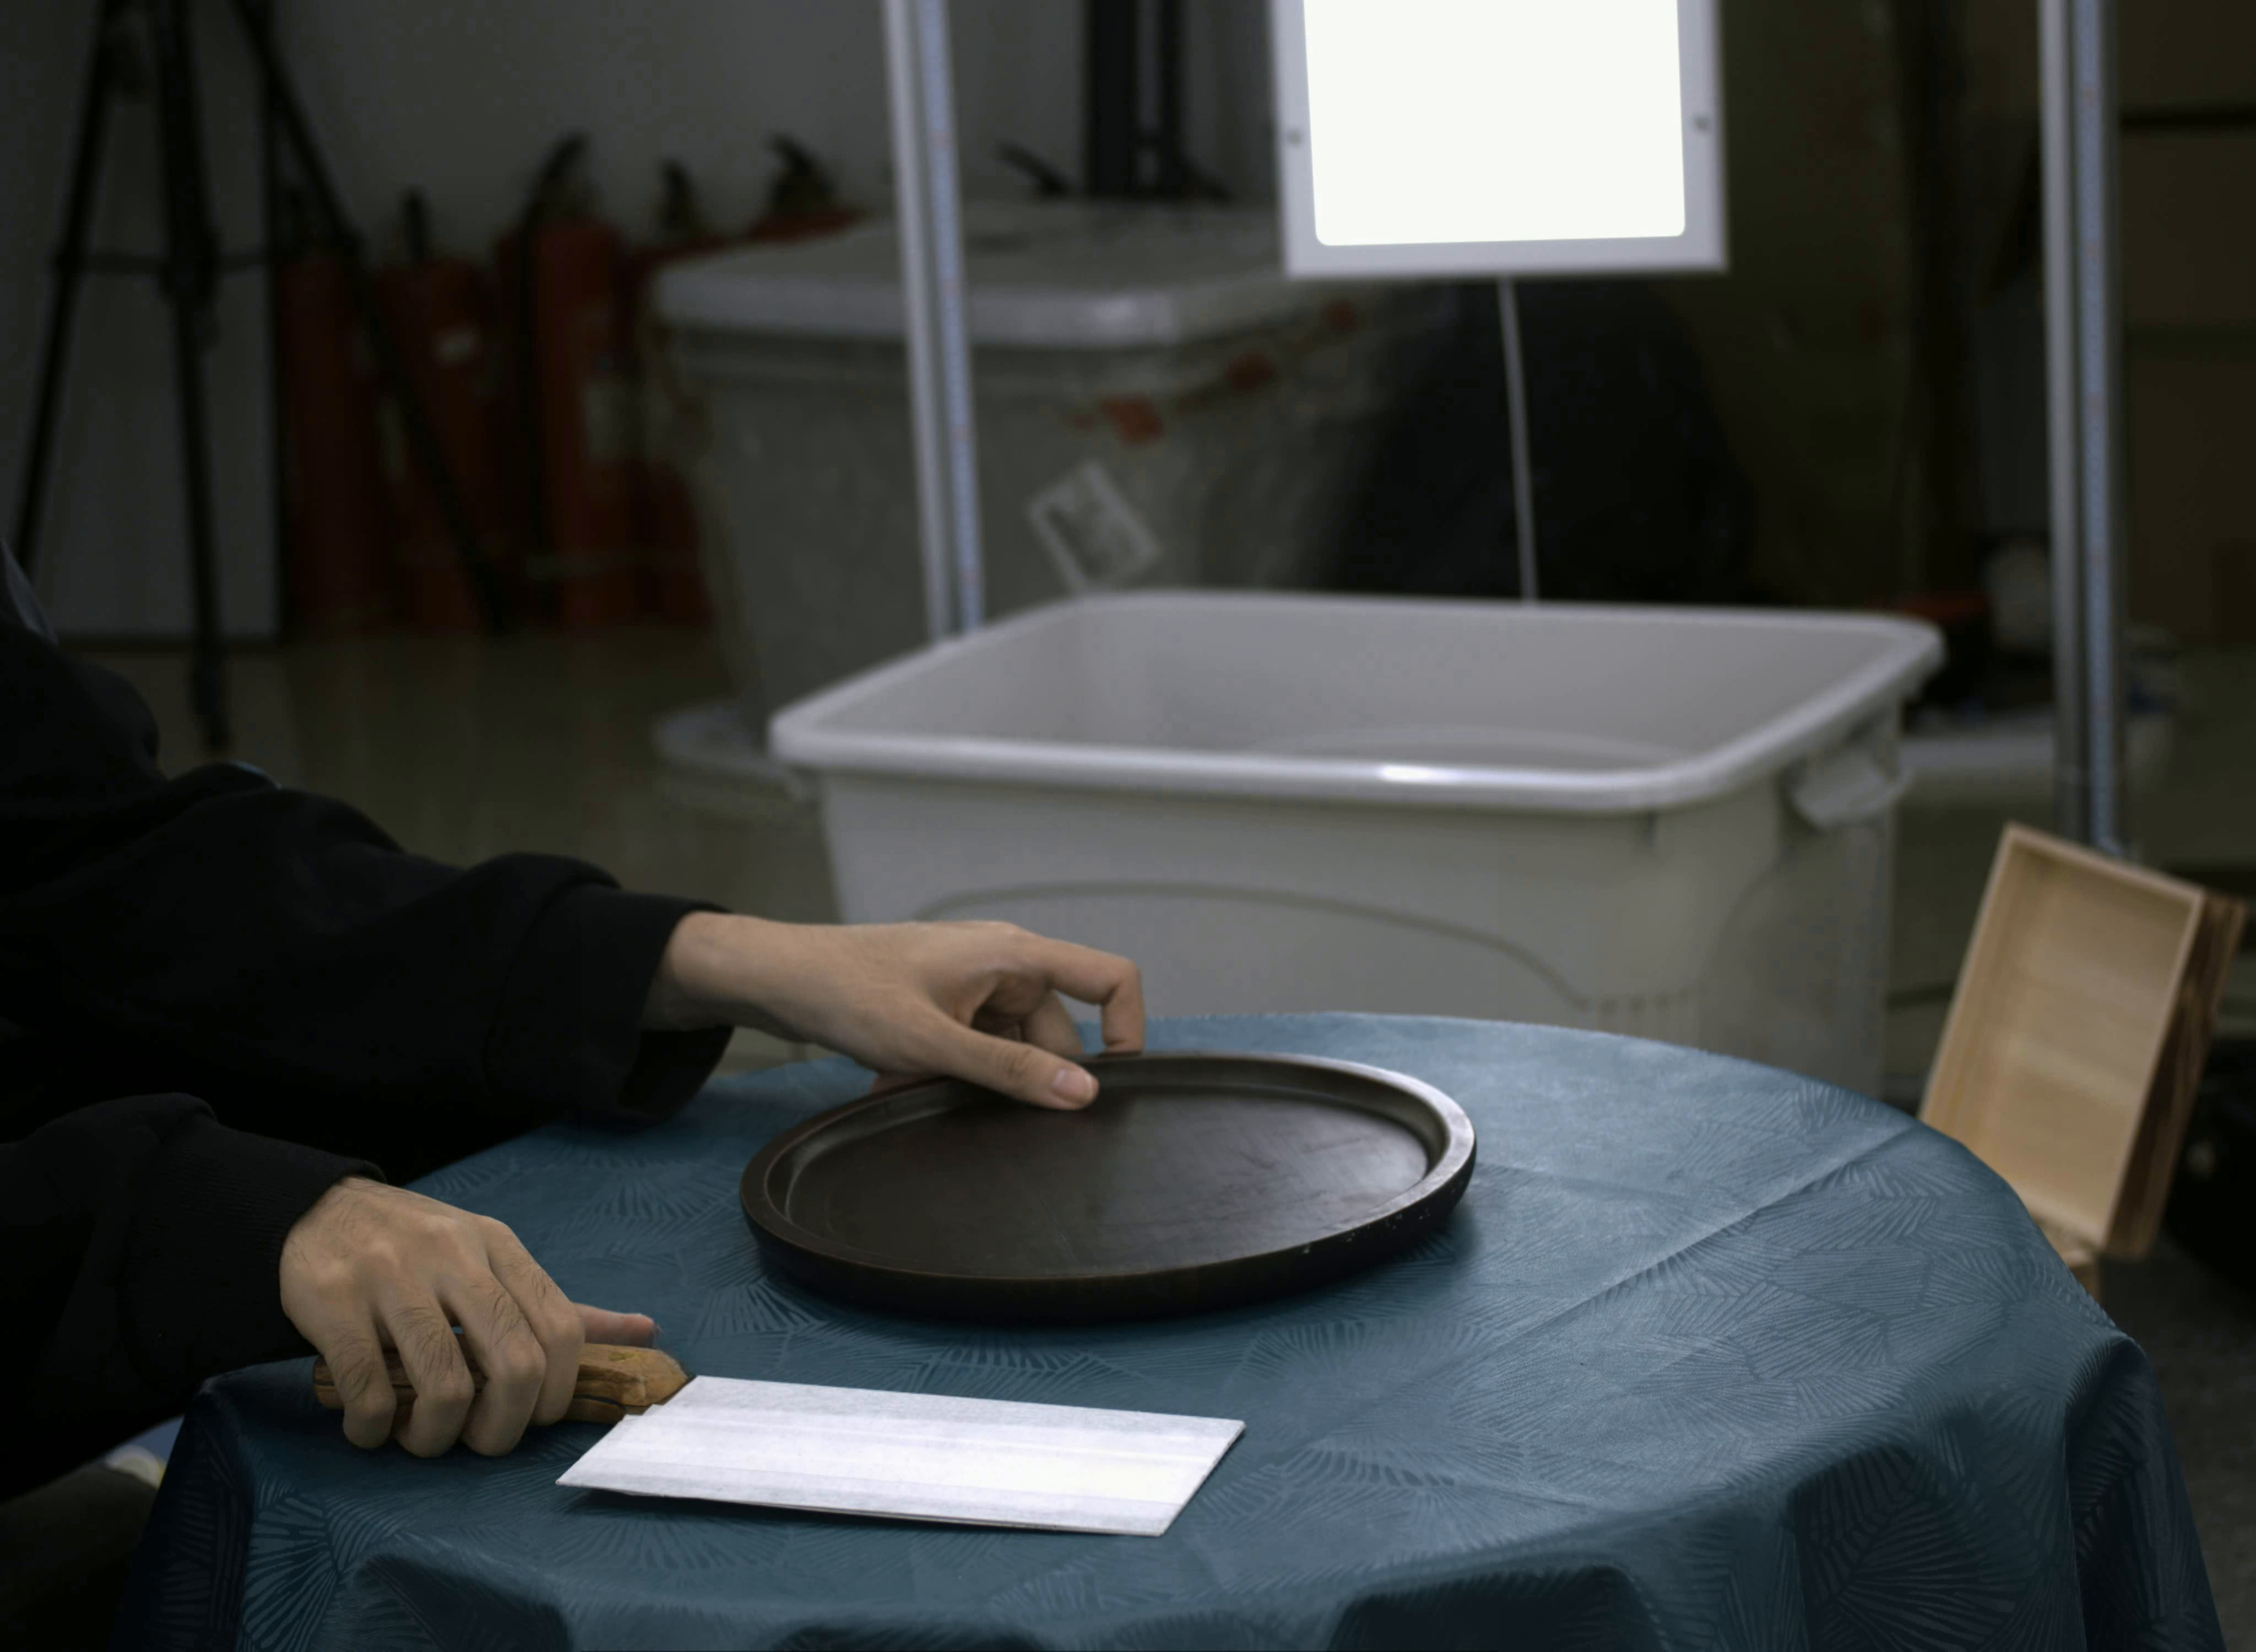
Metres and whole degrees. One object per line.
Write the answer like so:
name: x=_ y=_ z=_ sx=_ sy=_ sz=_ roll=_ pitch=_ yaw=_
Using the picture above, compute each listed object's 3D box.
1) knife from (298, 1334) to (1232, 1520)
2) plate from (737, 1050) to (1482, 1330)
knife: x=-0.121 y=0.185 z=1.673 sx=0.309 sy=0.021 sz=0.091 roll=2 pitch=17 yaw=20
plate: x=-0.006 y=0.121 z=1.869 sx=0.254 sy=0.029 sz=0.254 roll=-5 pitch=16 yaw=0
